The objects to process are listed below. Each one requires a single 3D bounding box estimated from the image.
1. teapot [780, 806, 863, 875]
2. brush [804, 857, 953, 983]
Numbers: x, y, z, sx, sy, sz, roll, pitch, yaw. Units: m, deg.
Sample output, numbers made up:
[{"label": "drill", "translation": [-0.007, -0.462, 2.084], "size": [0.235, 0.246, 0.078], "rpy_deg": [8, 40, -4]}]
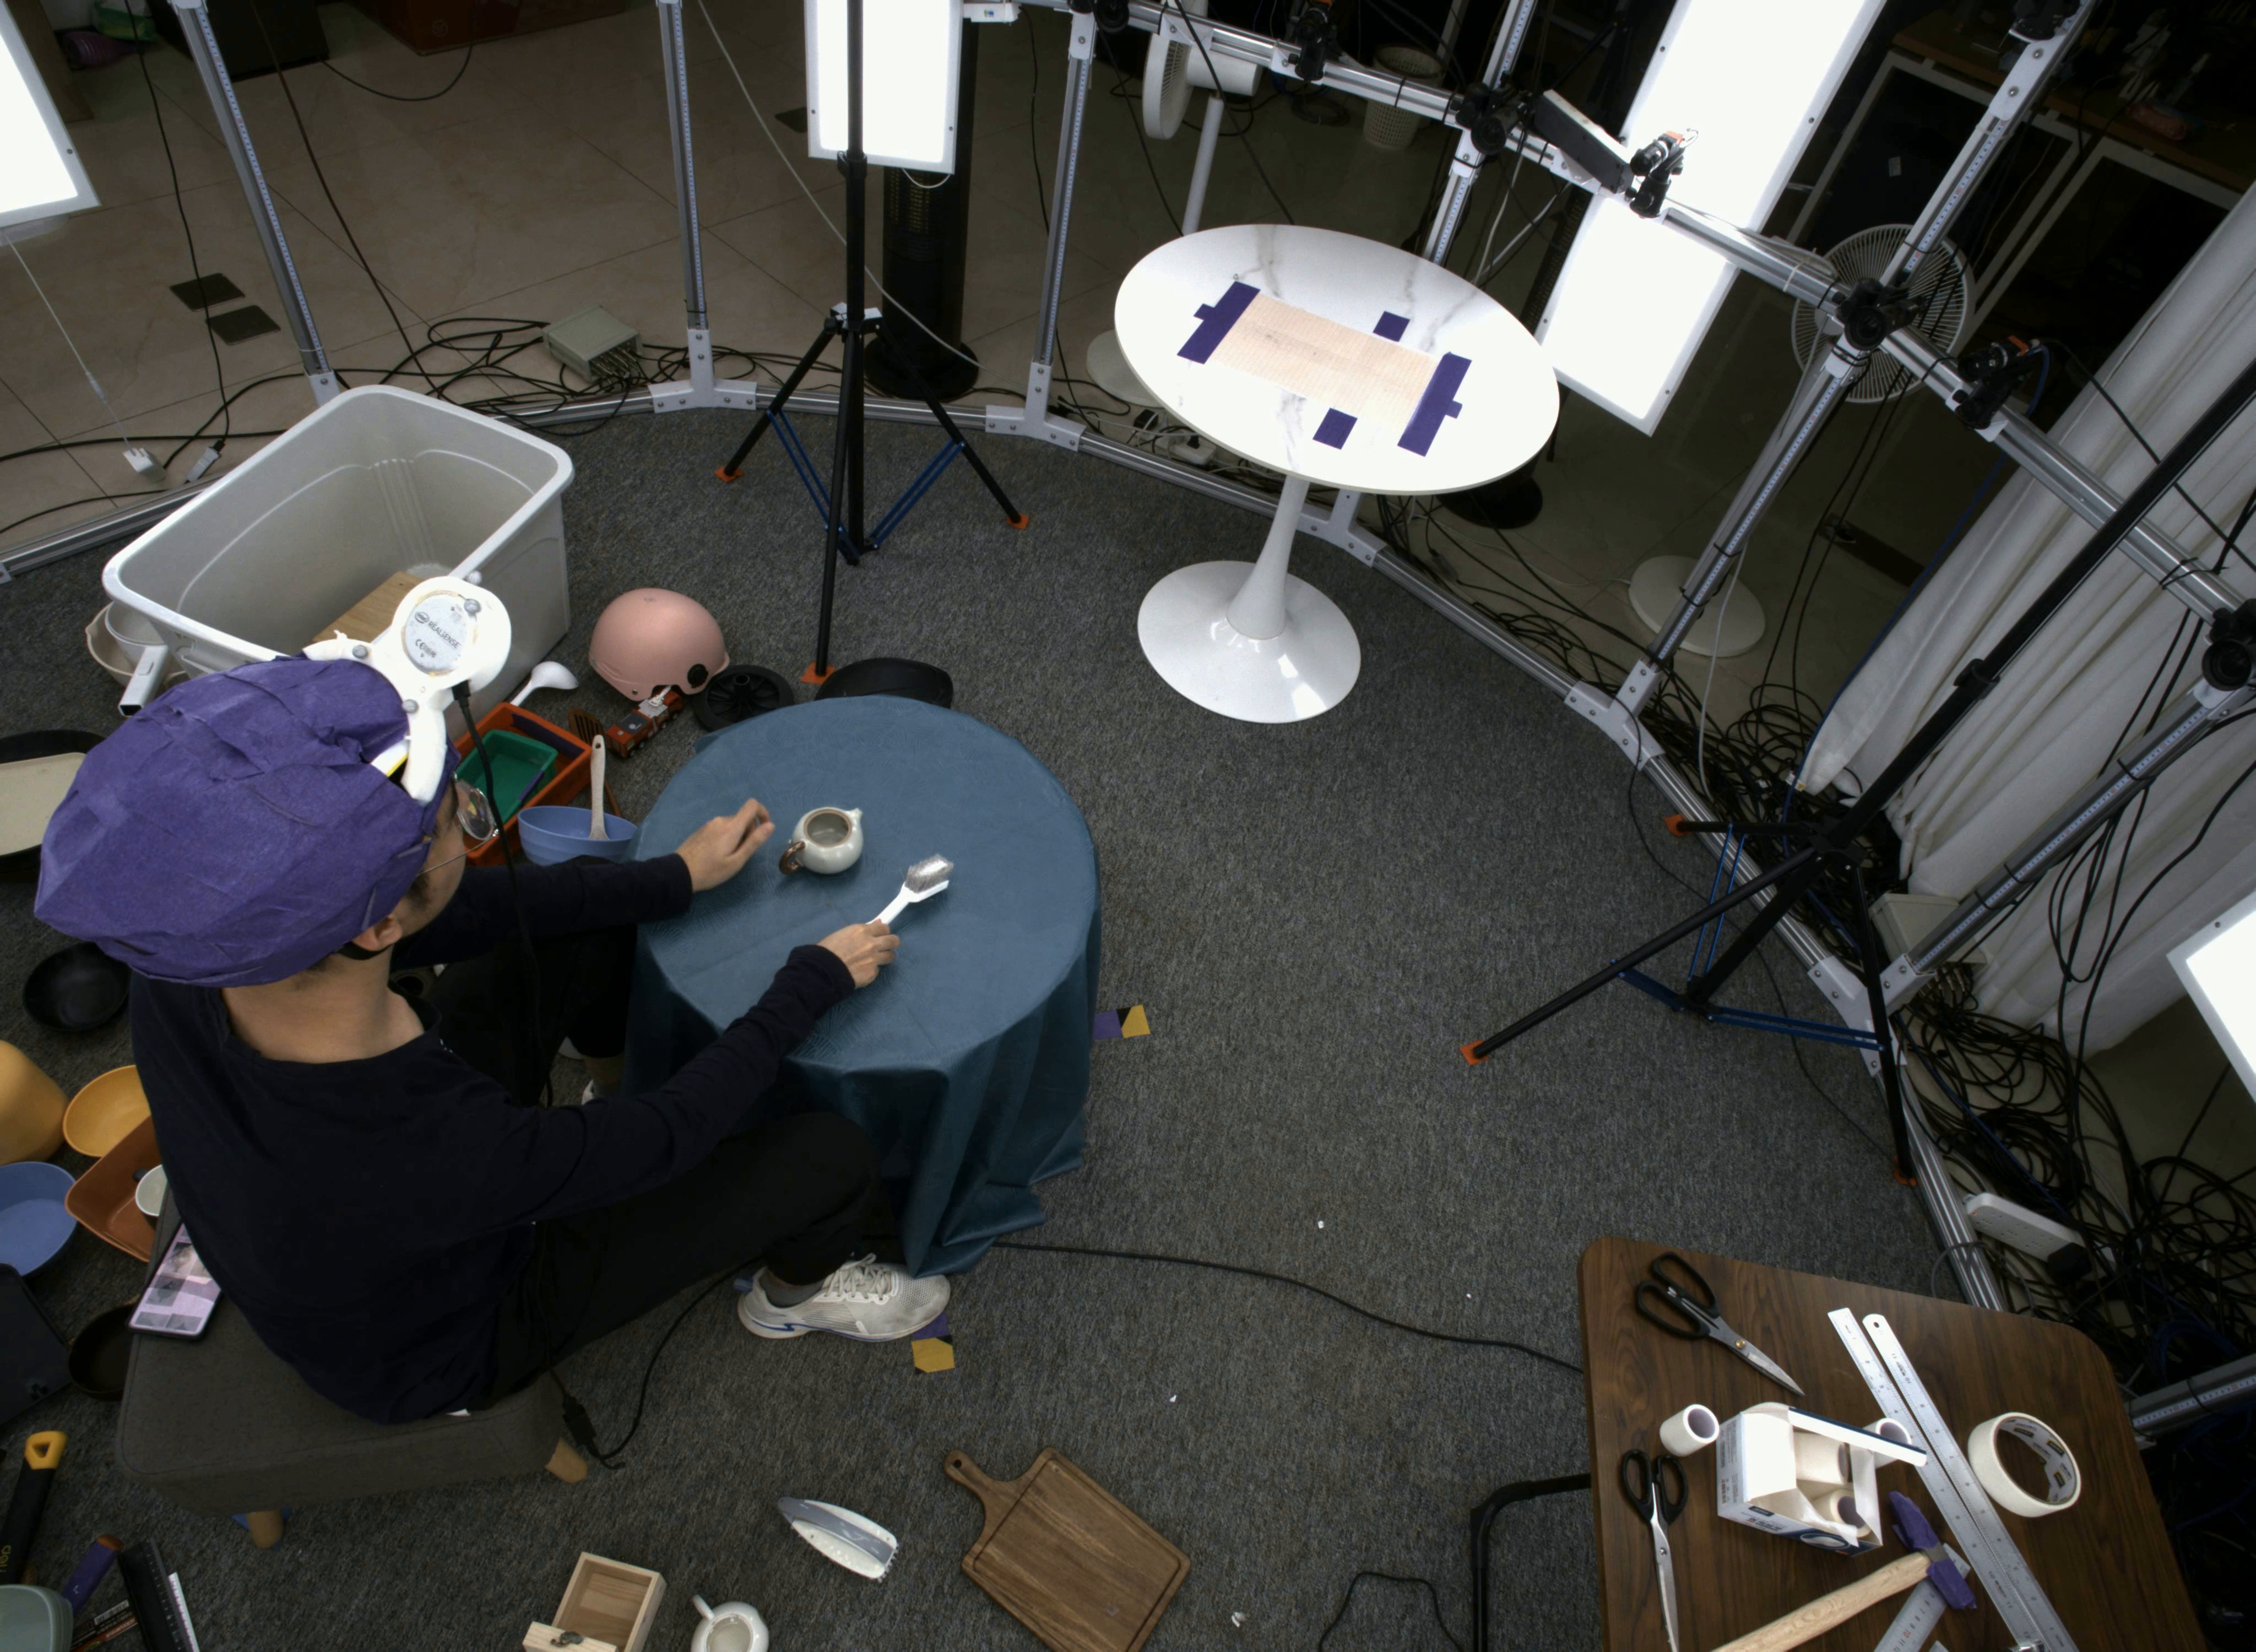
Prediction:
[{"label": "teapot", "translation": [-0.397, 0.022, 1.679], "size": [0.090, 0.060, 0.128], "rpy_deg": [44, 55, 16]}, {"label": "brush", "translation": [-0.310, 0.110, 1.623], "size": [0.033, 0.051, 0.244], "rpy_deg": [34, 48, 20]}]
